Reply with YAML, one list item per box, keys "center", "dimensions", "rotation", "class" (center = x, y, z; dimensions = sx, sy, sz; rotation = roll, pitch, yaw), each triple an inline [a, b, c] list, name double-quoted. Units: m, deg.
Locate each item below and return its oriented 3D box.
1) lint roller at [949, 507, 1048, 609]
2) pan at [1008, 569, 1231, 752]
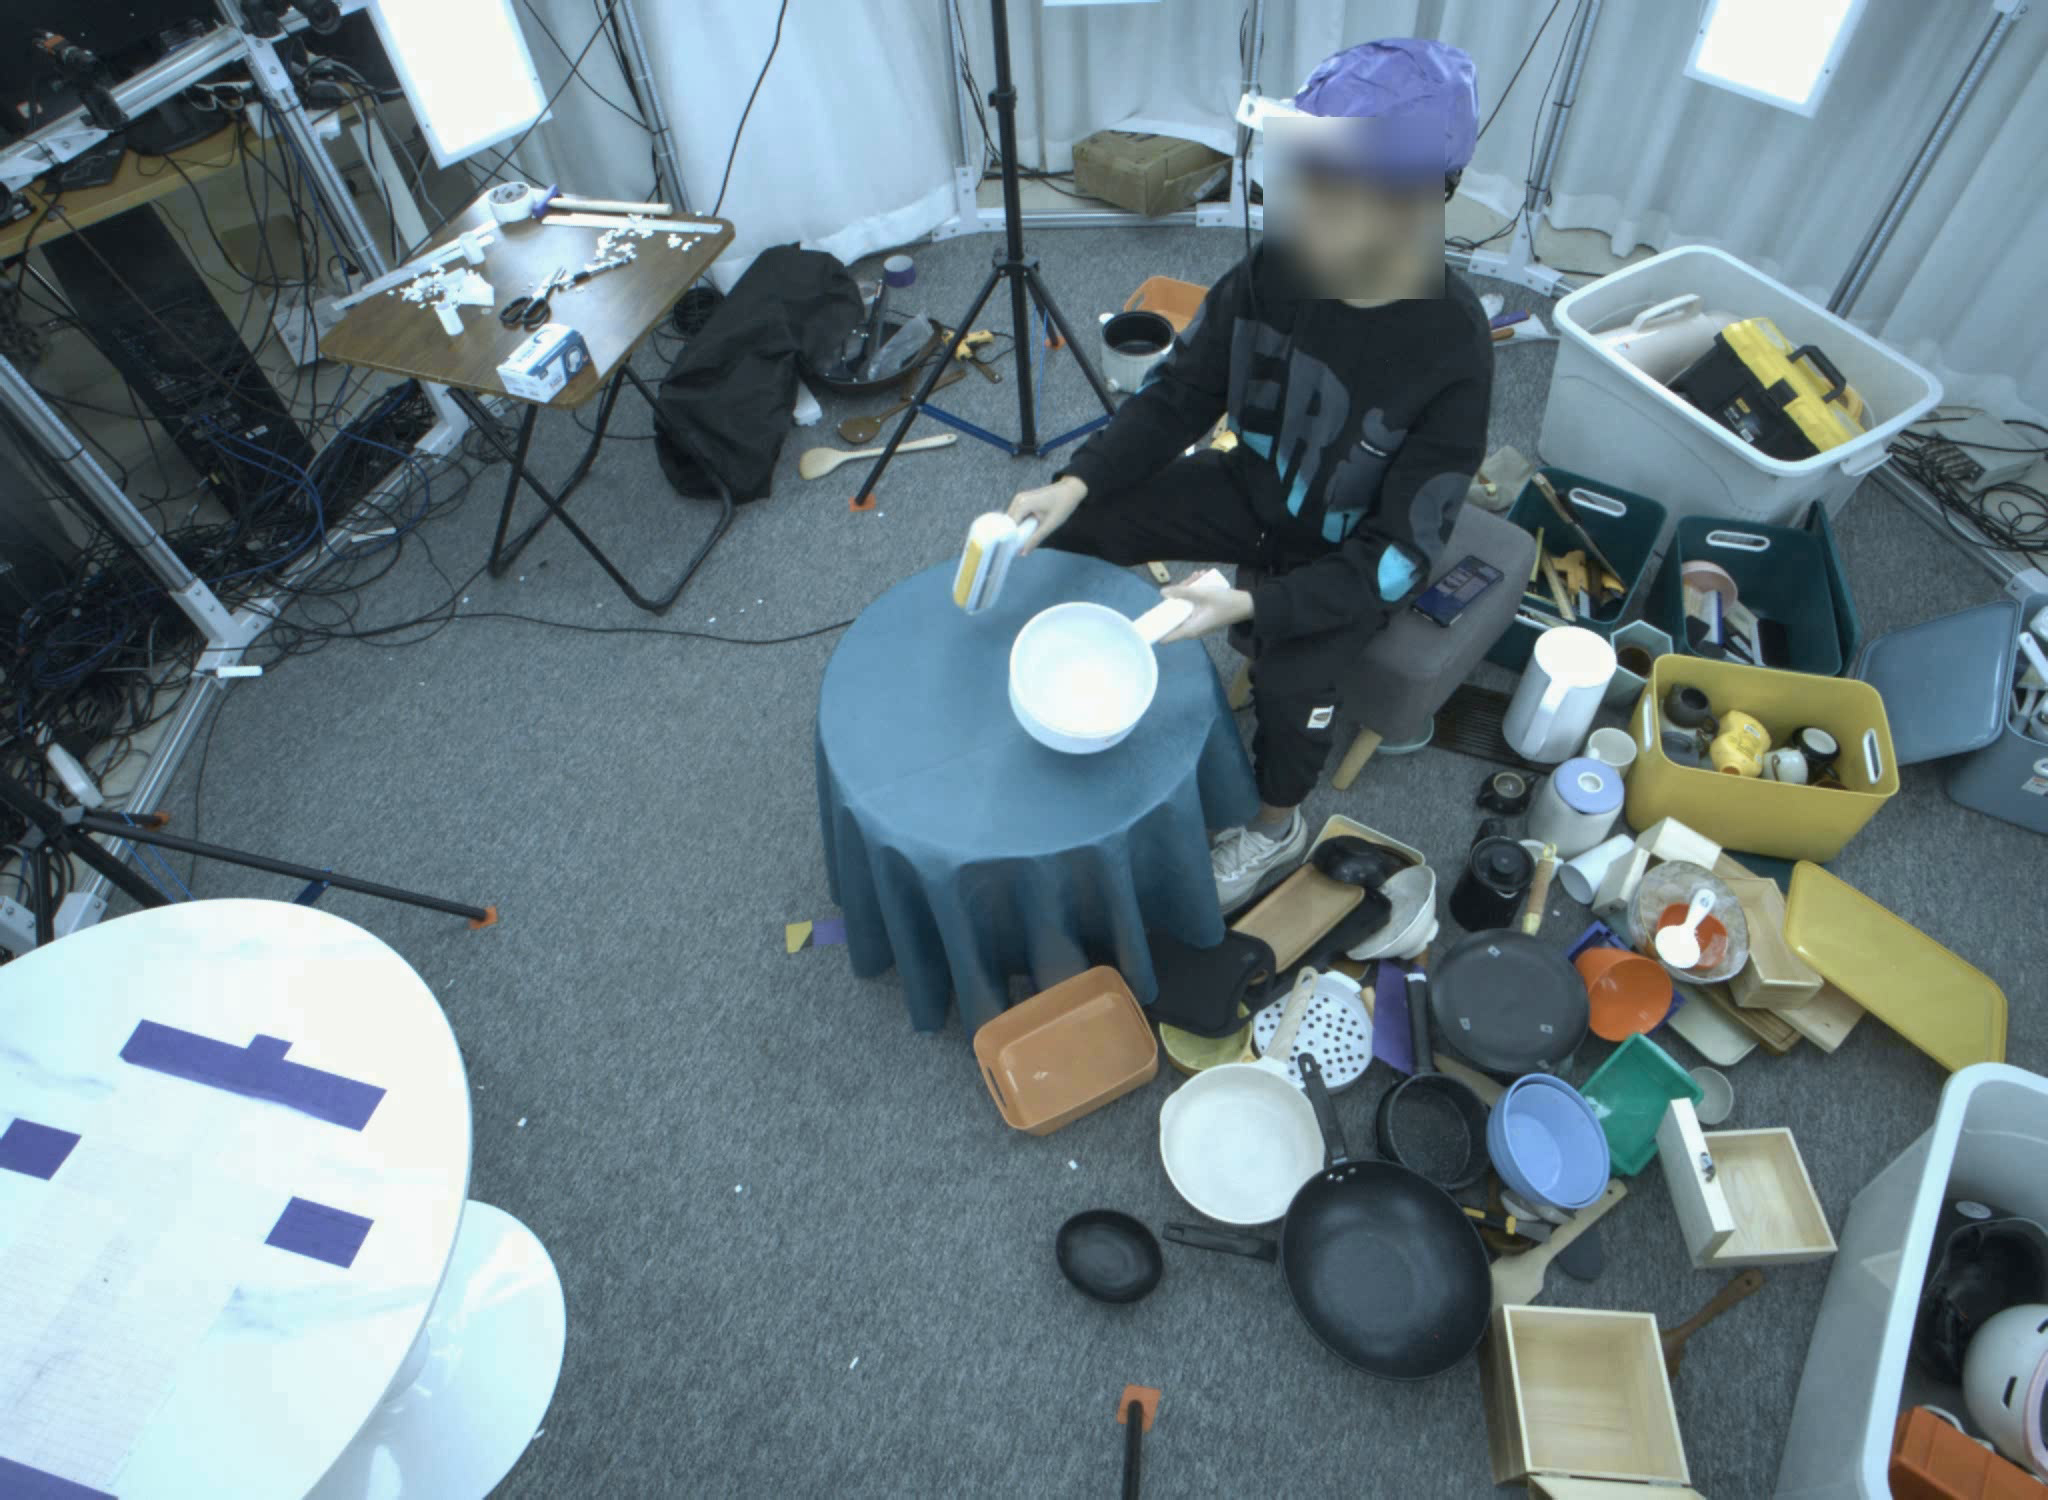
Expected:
- center: [-0.022, -0.310, 1.848]
  dimensions: [0.194, 0.192, 0.073]
  rotation: [-33, 72, -35]
  class: "lint roller"
- center: [0.138, -0.138, 1.732]
  dimensions: [0.357, 0.102, 0.199]
  rotation: [-34, 78, -18]
  class: "pan"
